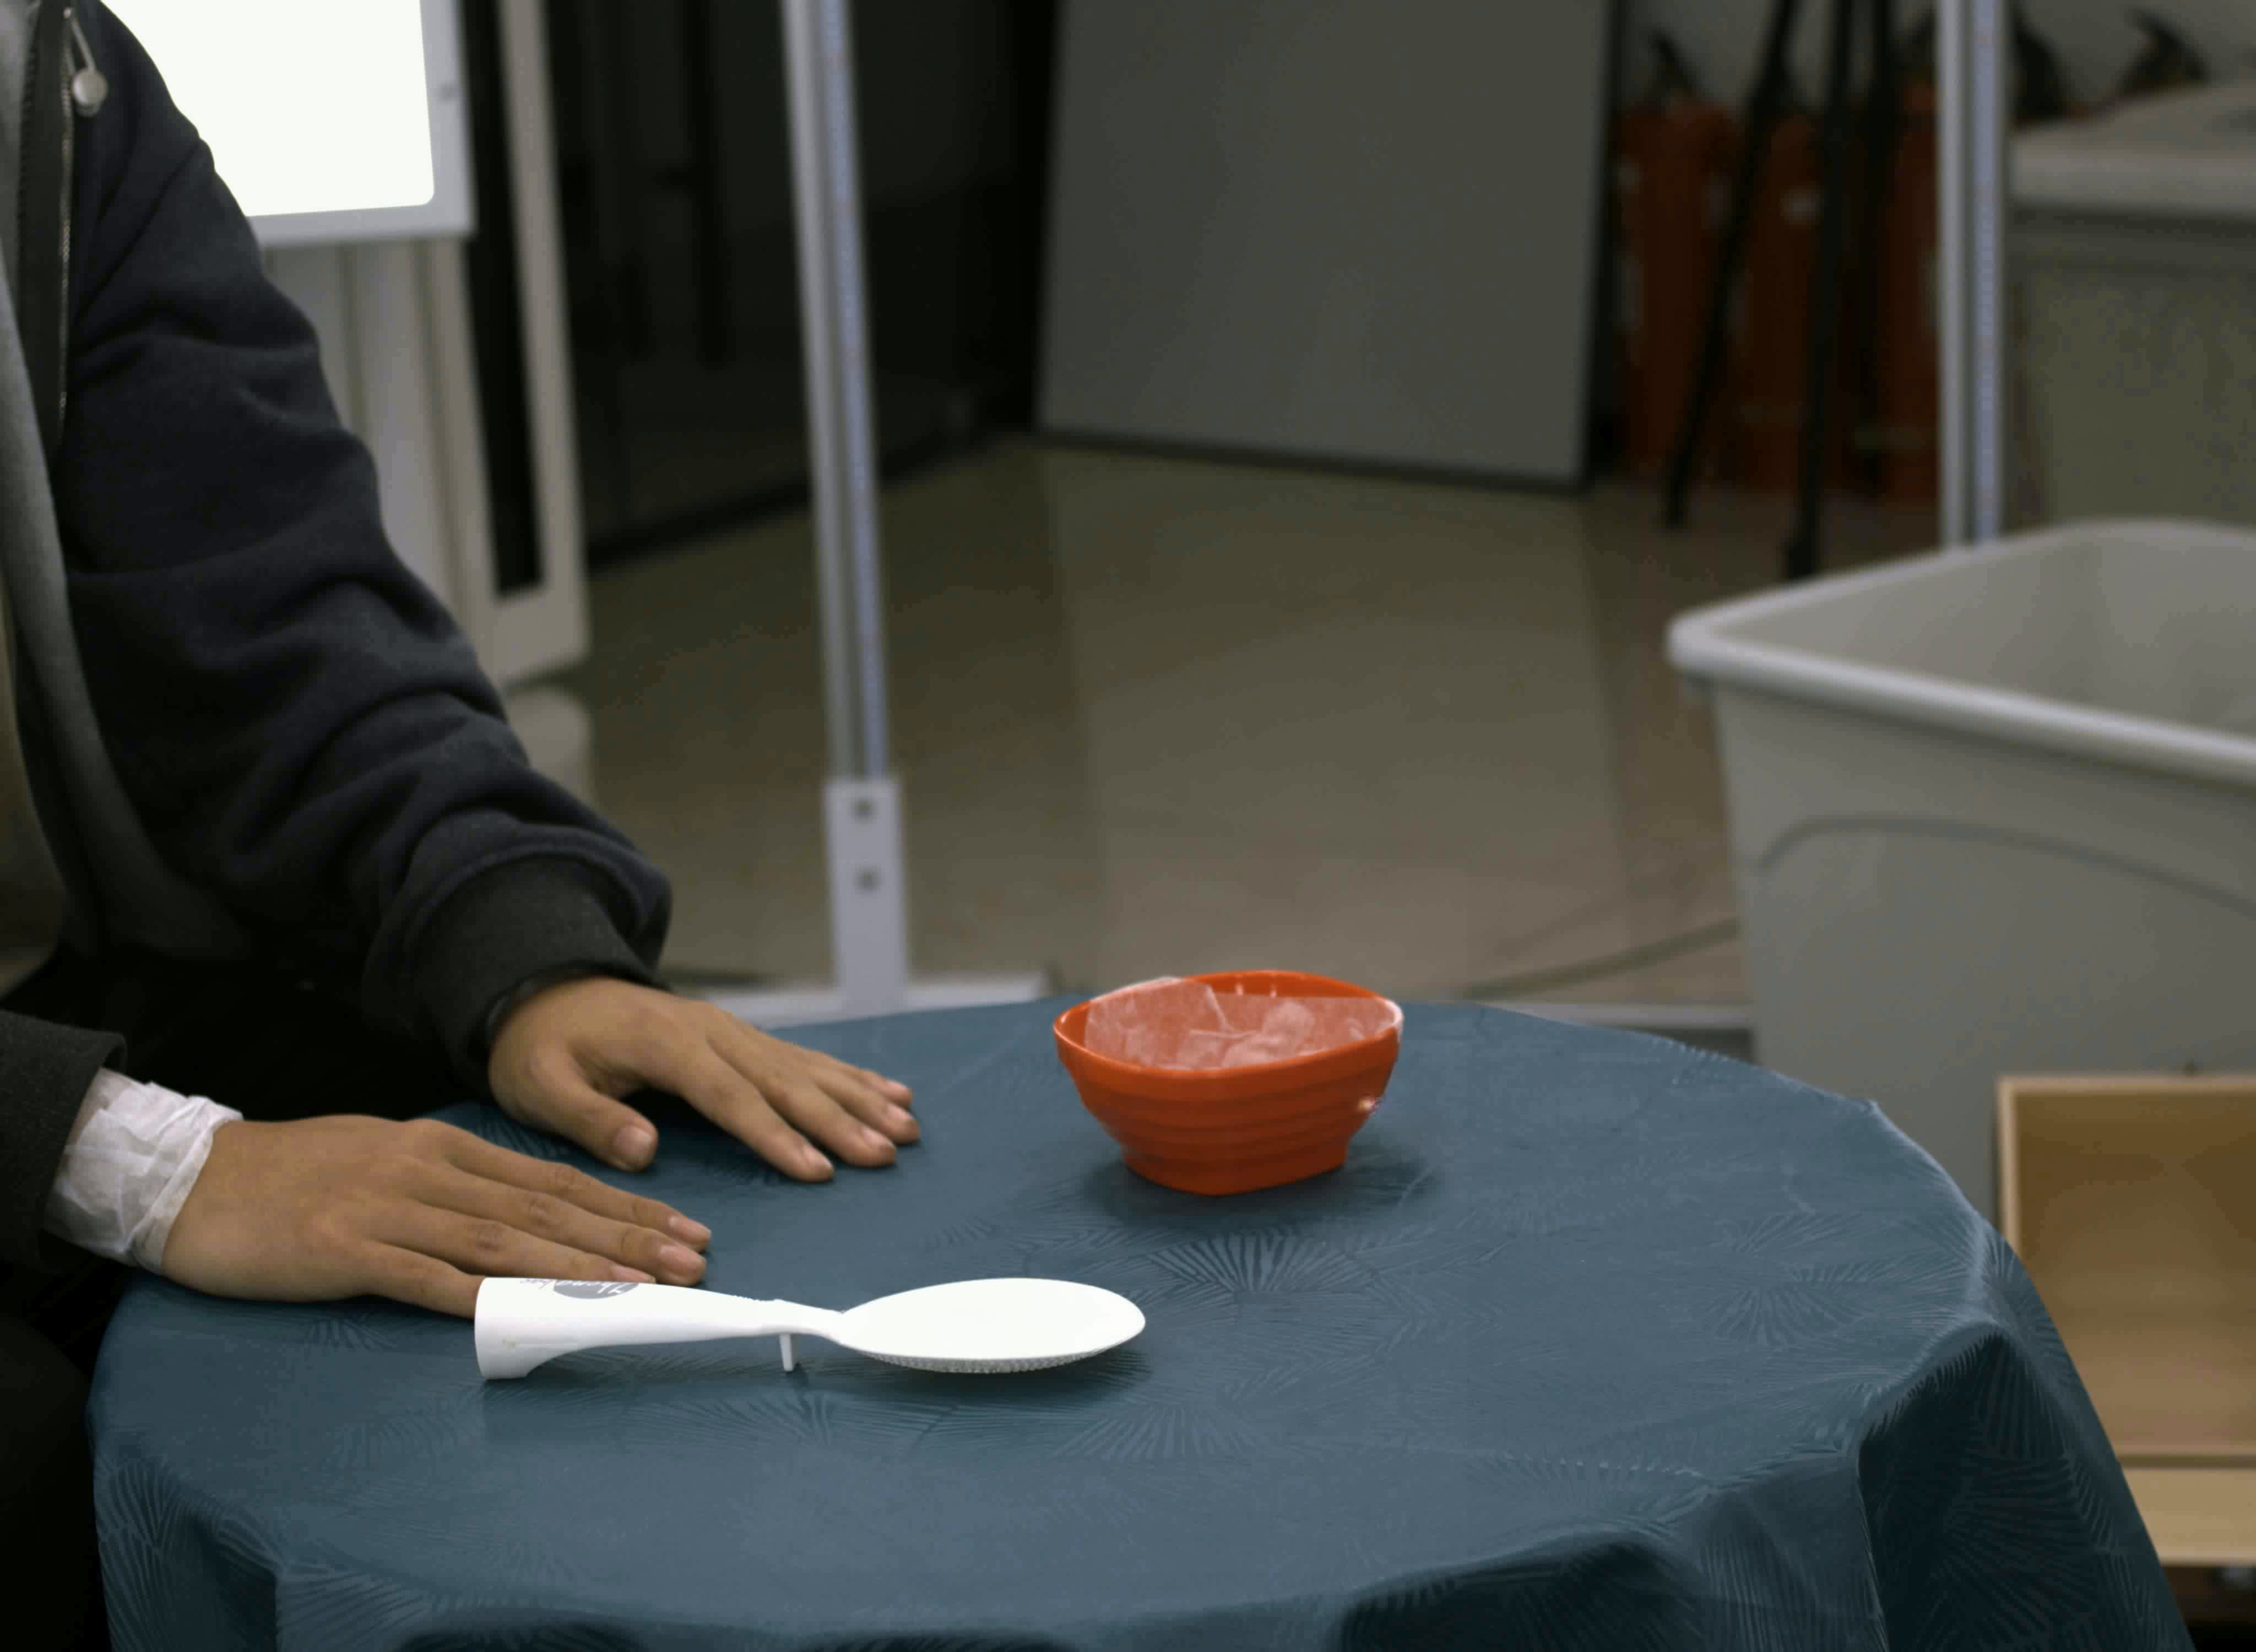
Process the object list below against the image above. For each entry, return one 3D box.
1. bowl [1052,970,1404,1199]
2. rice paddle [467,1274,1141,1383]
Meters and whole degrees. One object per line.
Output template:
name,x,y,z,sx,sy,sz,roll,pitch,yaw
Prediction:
bowl,0.034,0.087,1.786,0.117,0.052,0.119,-3,14,0
rice paddle,-0.096,0.148,1.621,0.203,0.030,0.068,-2,15,8
